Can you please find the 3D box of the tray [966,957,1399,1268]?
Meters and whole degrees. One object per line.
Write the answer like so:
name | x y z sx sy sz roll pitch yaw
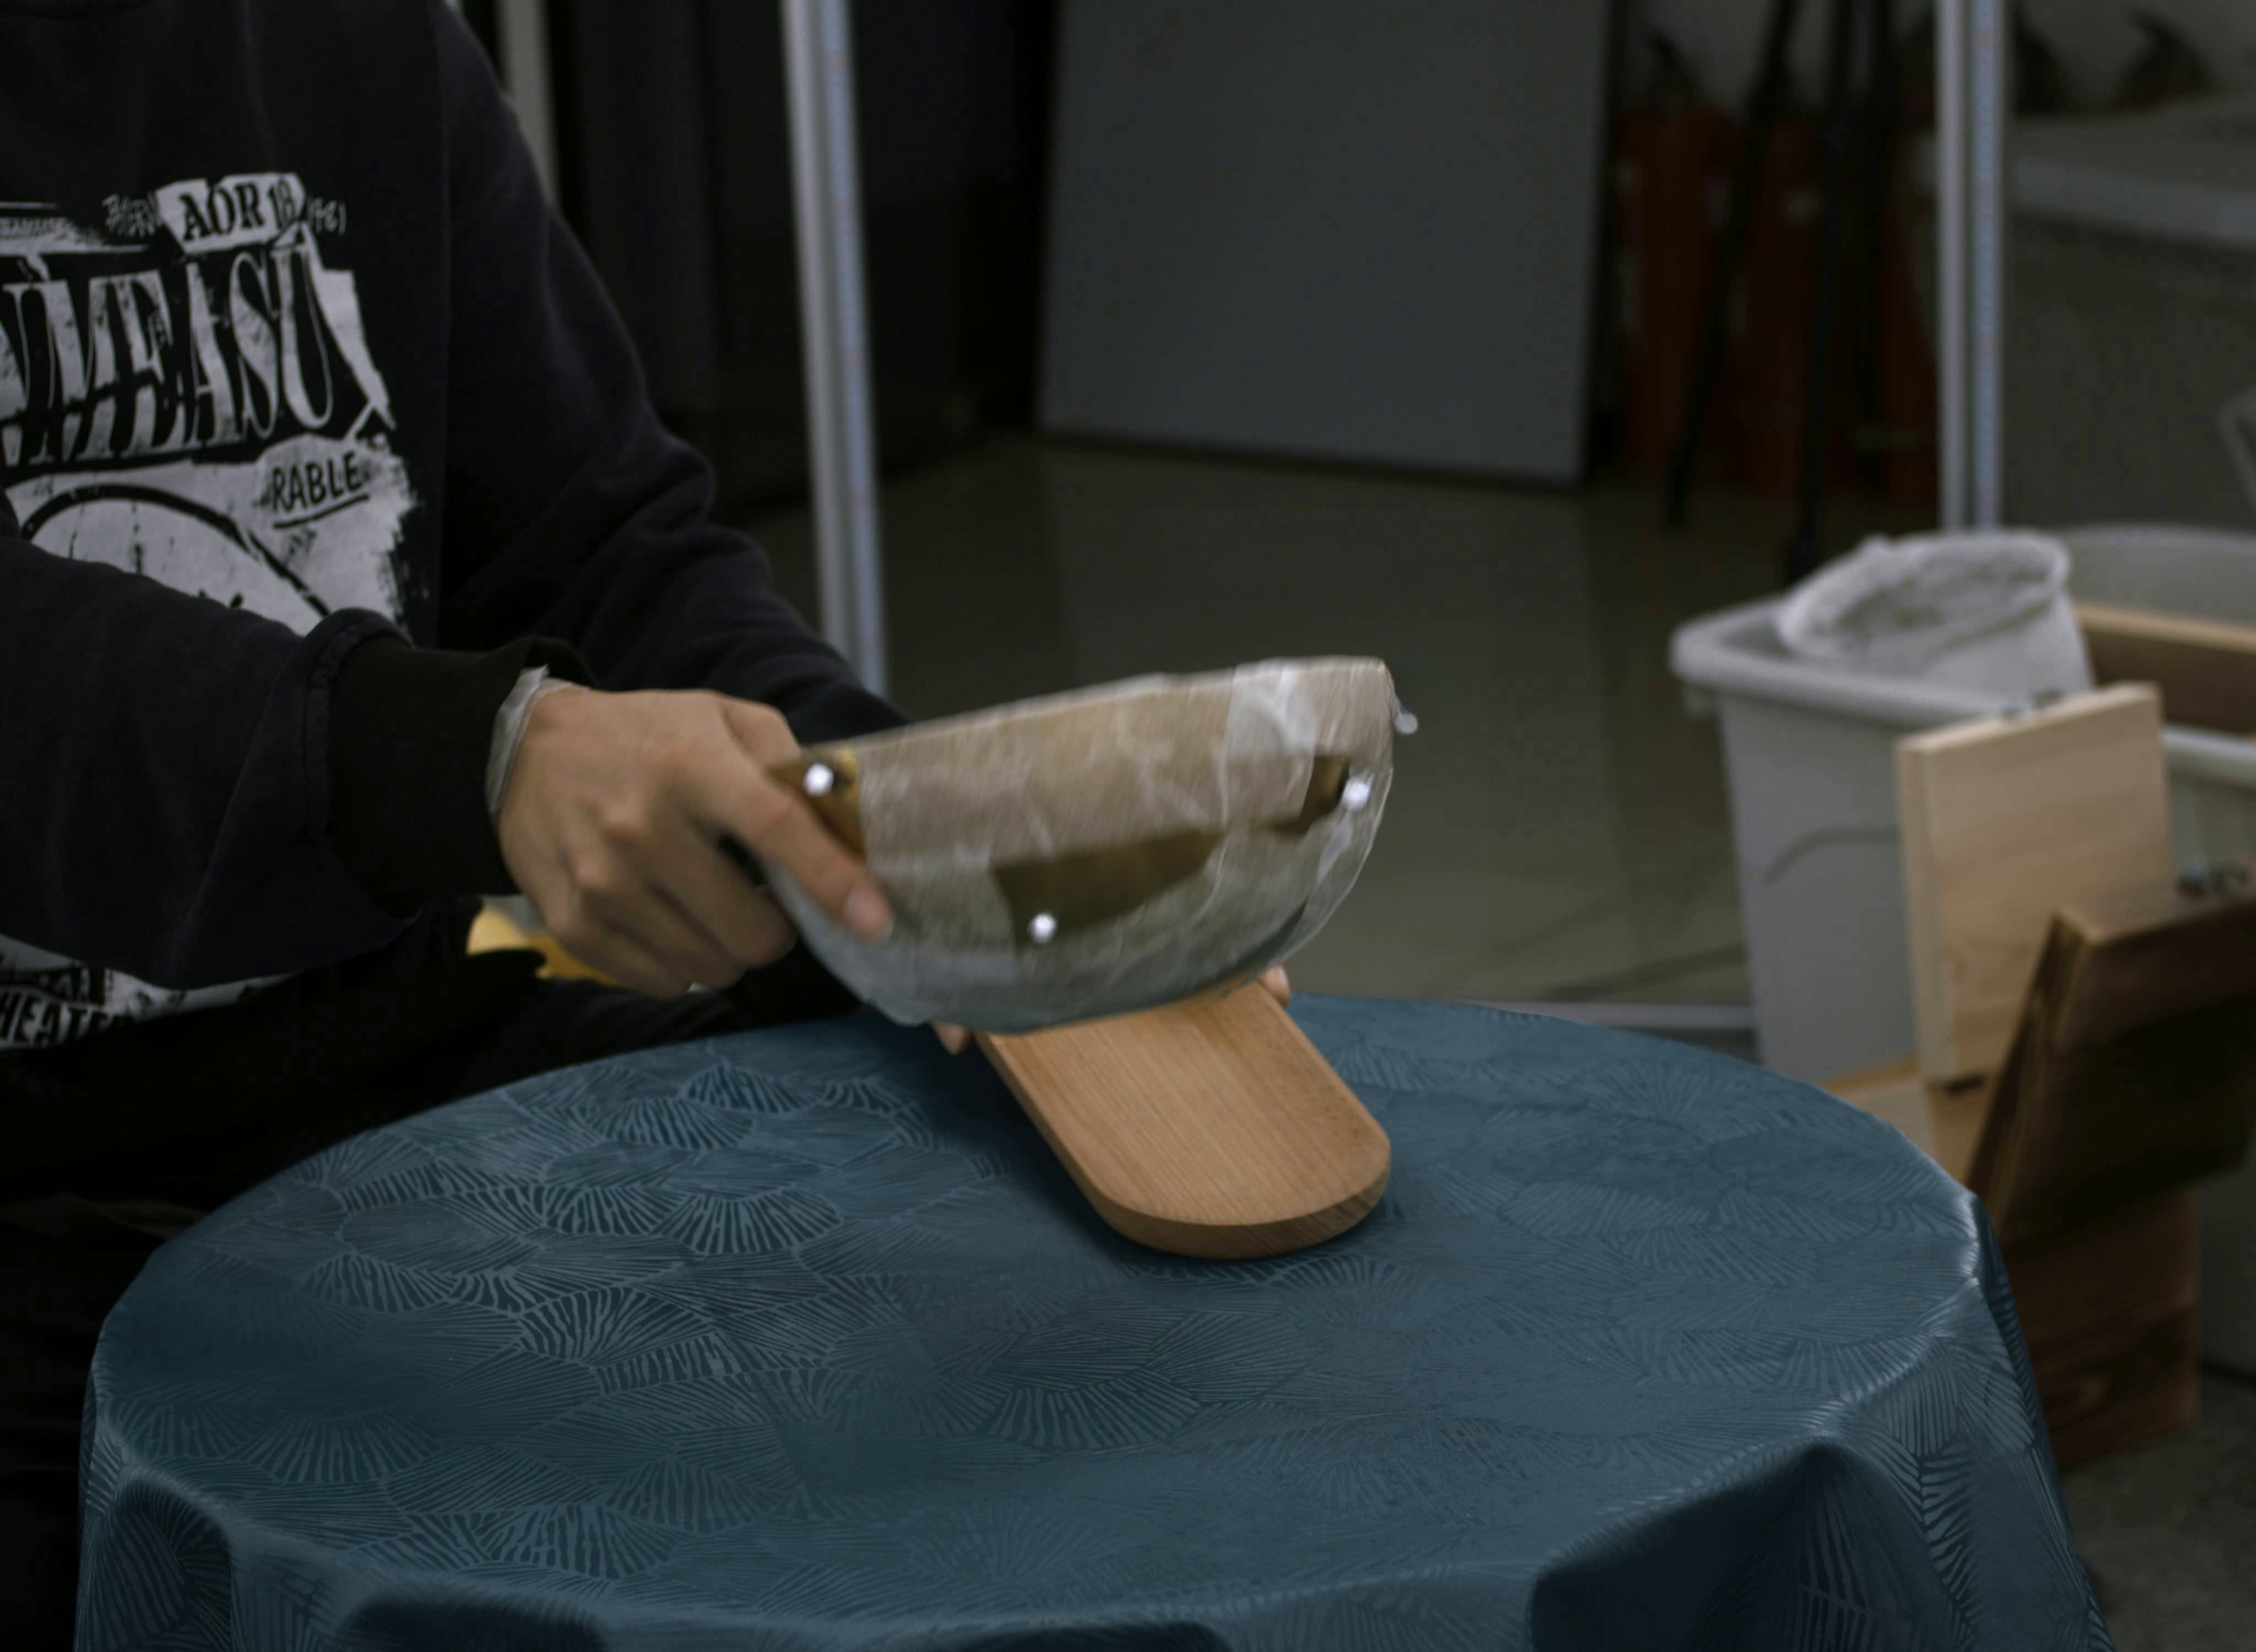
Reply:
tray | 0.016 0.089 1.791 0.100 0.020 0.233 -12 27 -15

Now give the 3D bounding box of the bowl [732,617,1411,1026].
bowl | -0.009 0.007 1.605 0.212 0.096 0.215 -11 -6 -2
